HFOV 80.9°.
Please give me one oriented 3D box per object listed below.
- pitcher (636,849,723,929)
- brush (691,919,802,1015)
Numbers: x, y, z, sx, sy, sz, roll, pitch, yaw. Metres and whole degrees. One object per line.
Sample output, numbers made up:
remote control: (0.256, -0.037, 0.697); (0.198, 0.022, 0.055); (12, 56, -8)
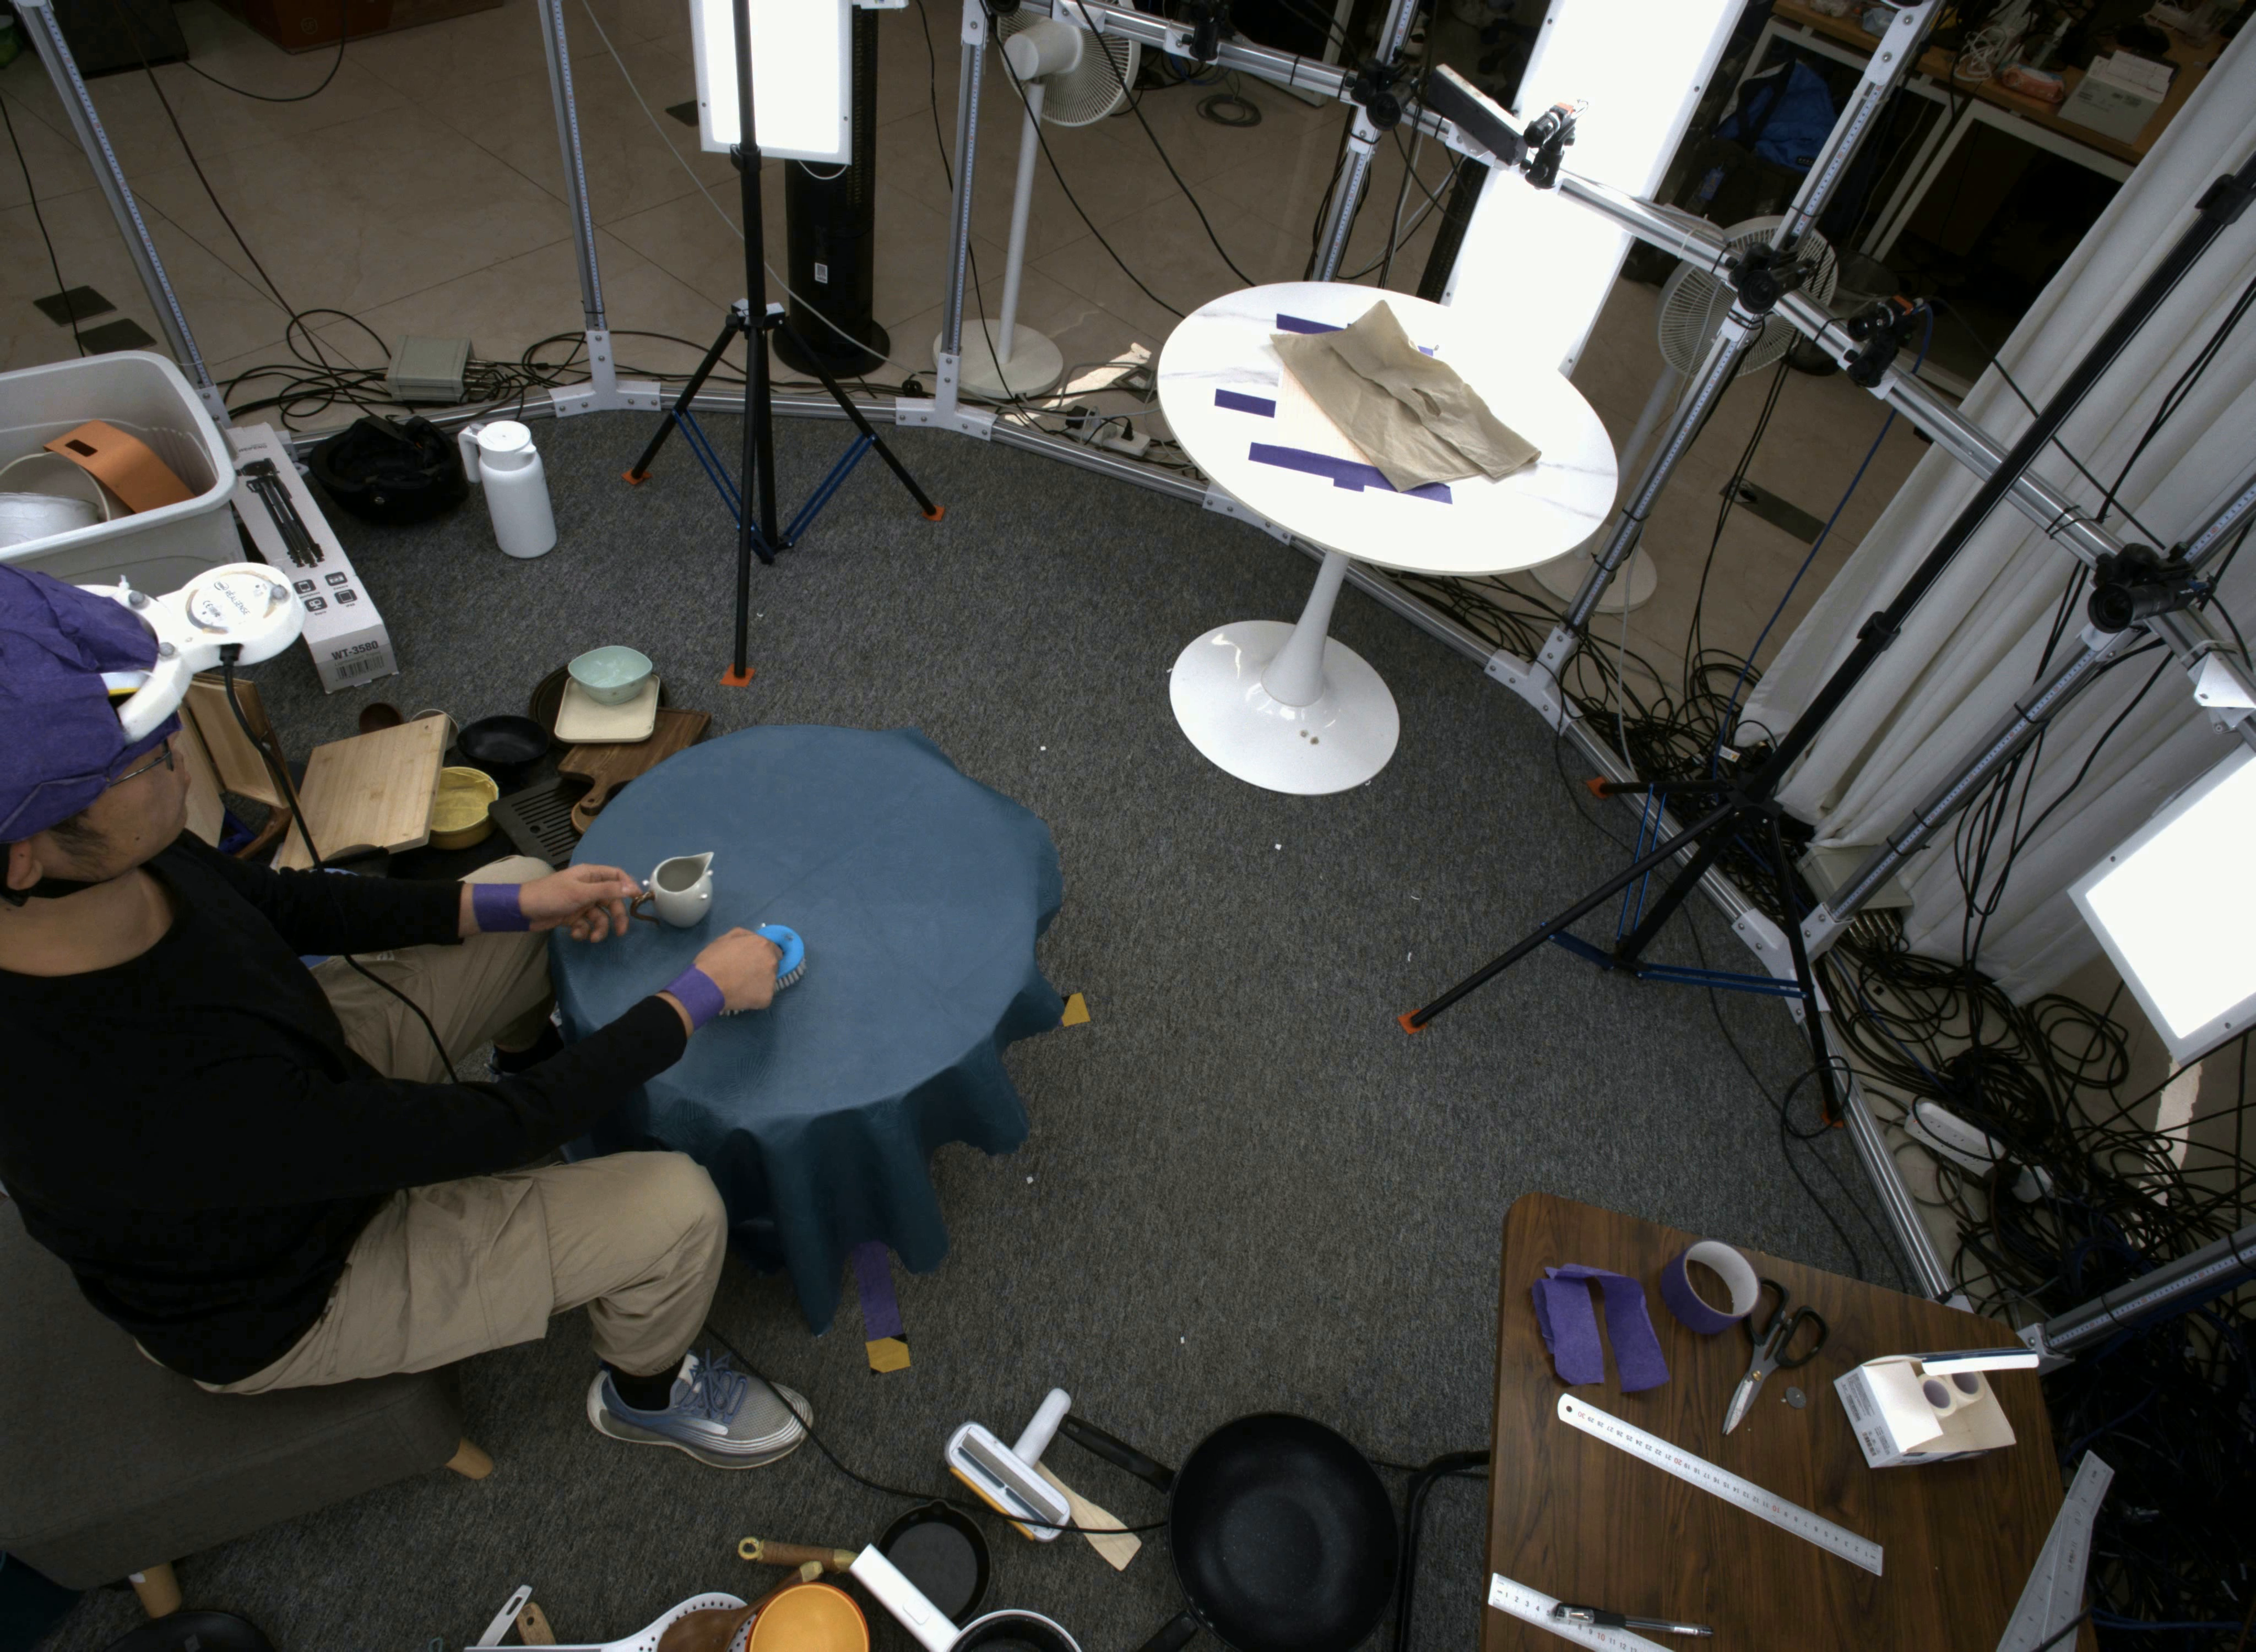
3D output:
pitcher: (-0.547, 0.081, 1.580); (0.120, 0.090, 0.073); (-28, 57, -33)
brush: (-0.457, 0.161, 1.557); (0.142, 0.065, 0.083); (-30, 69, -30)
